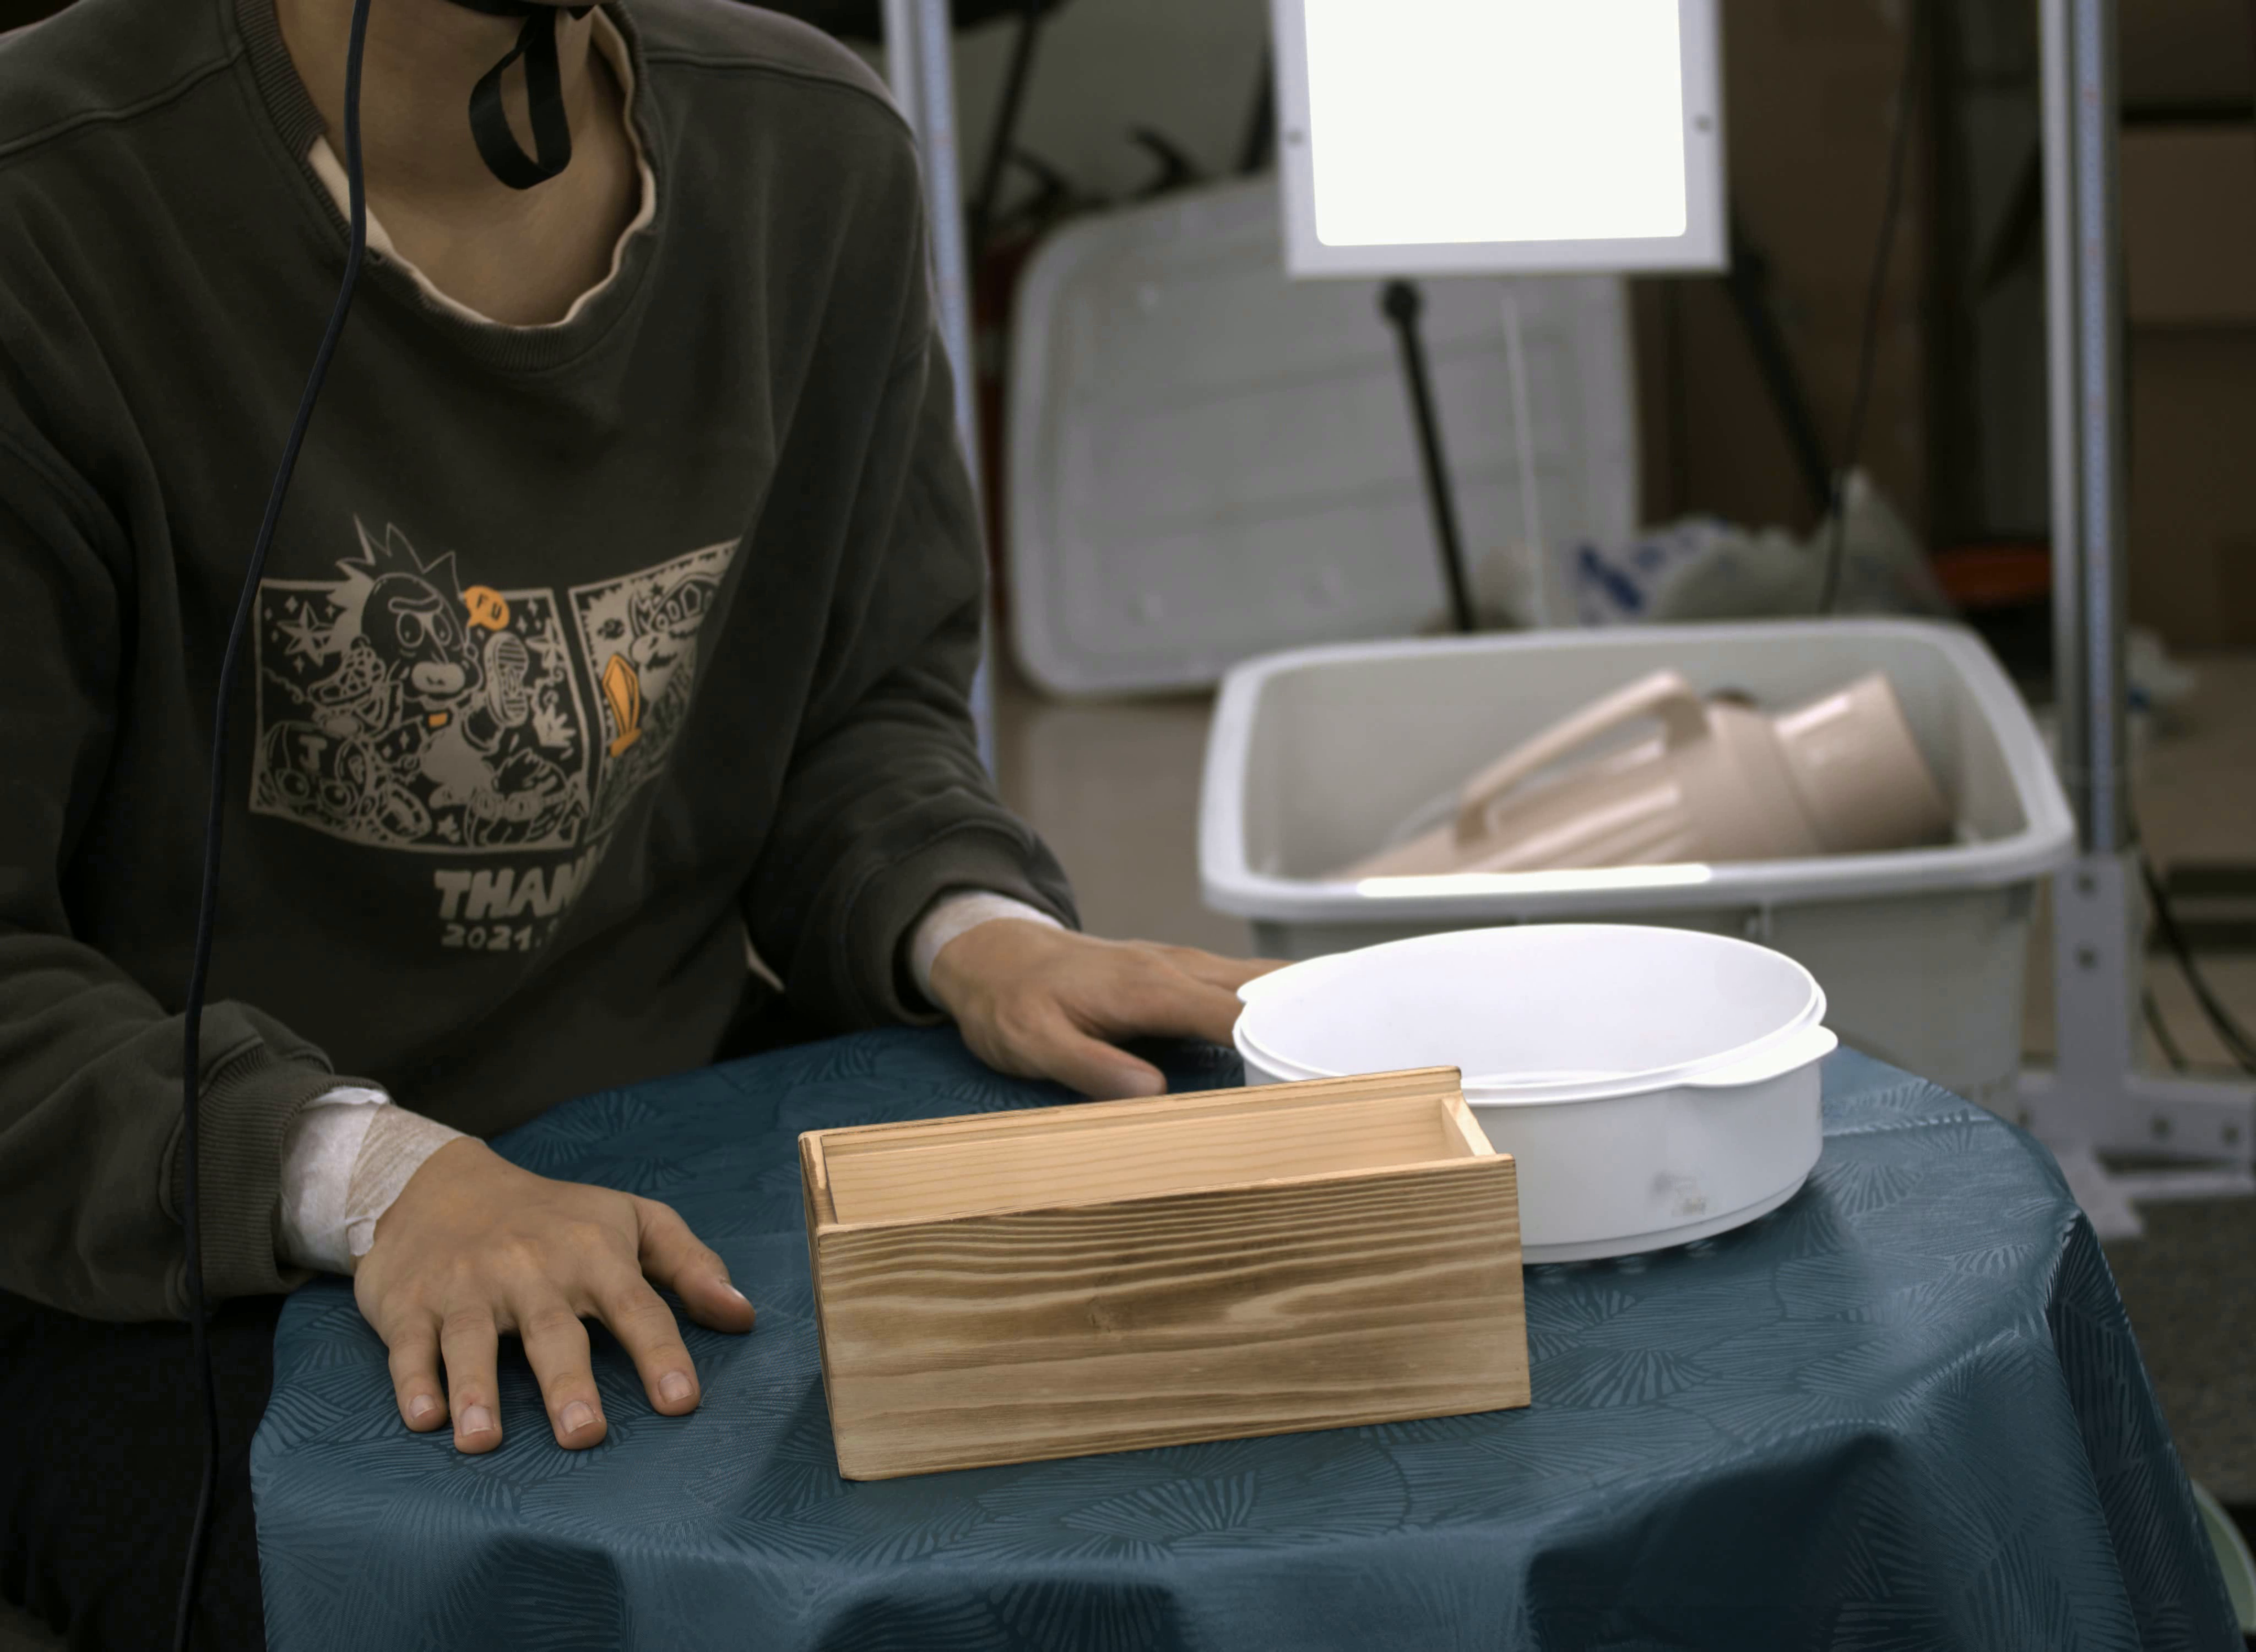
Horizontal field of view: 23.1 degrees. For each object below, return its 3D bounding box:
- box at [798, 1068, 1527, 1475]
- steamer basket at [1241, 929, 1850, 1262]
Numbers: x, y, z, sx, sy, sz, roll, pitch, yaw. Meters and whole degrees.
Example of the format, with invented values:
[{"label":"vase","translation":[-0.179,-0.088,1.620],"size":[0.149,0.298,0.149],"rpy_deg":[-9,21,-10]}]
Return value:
[{"label":"box","translation":[0.009,0.135,1.691],"size":[0.210,0.080,0.107],"rpy_deg":[-6,13,-3]},{"label":"steamer basket","translation":[0.140,0.090,1.849],"size":[0.197,0.069,0.235],"rpy_deg":[-17,18,-42]}]
